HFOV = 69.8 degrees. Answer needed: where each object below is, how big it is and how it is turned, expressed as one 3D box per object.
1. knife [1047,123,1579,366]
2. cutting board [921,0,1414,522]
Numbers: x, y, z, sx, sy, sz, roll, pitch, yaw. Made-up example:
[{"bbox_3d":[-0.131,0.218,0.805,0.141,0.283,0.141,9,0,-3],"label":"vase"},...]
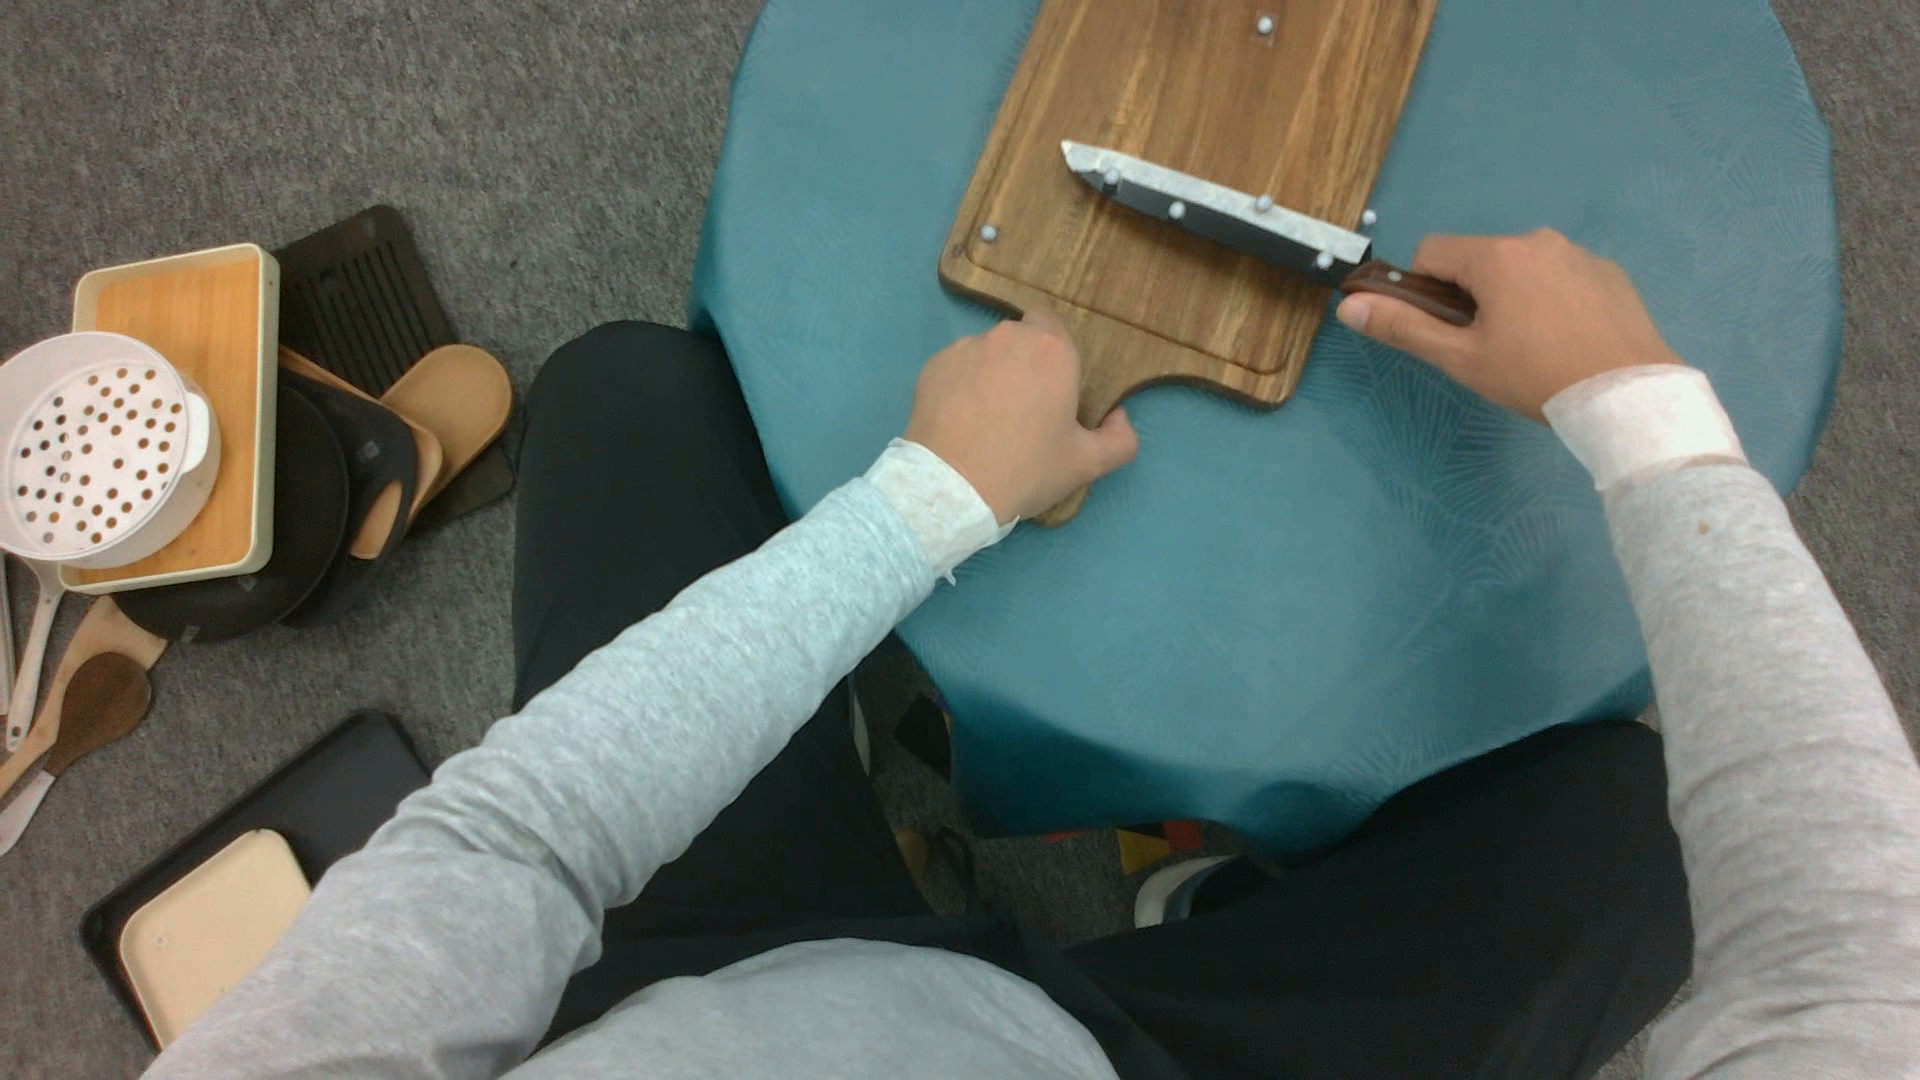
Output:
[{"bbox_3d":[0.171,-0.154,0.694,0.289,0.020,0.050,26,52,11],"label":"knife"},{"bbox_3d":[0.095,-0.175,0.725,0.201,0.023,0.352,21,81,3],"label":"cutting board"}]
